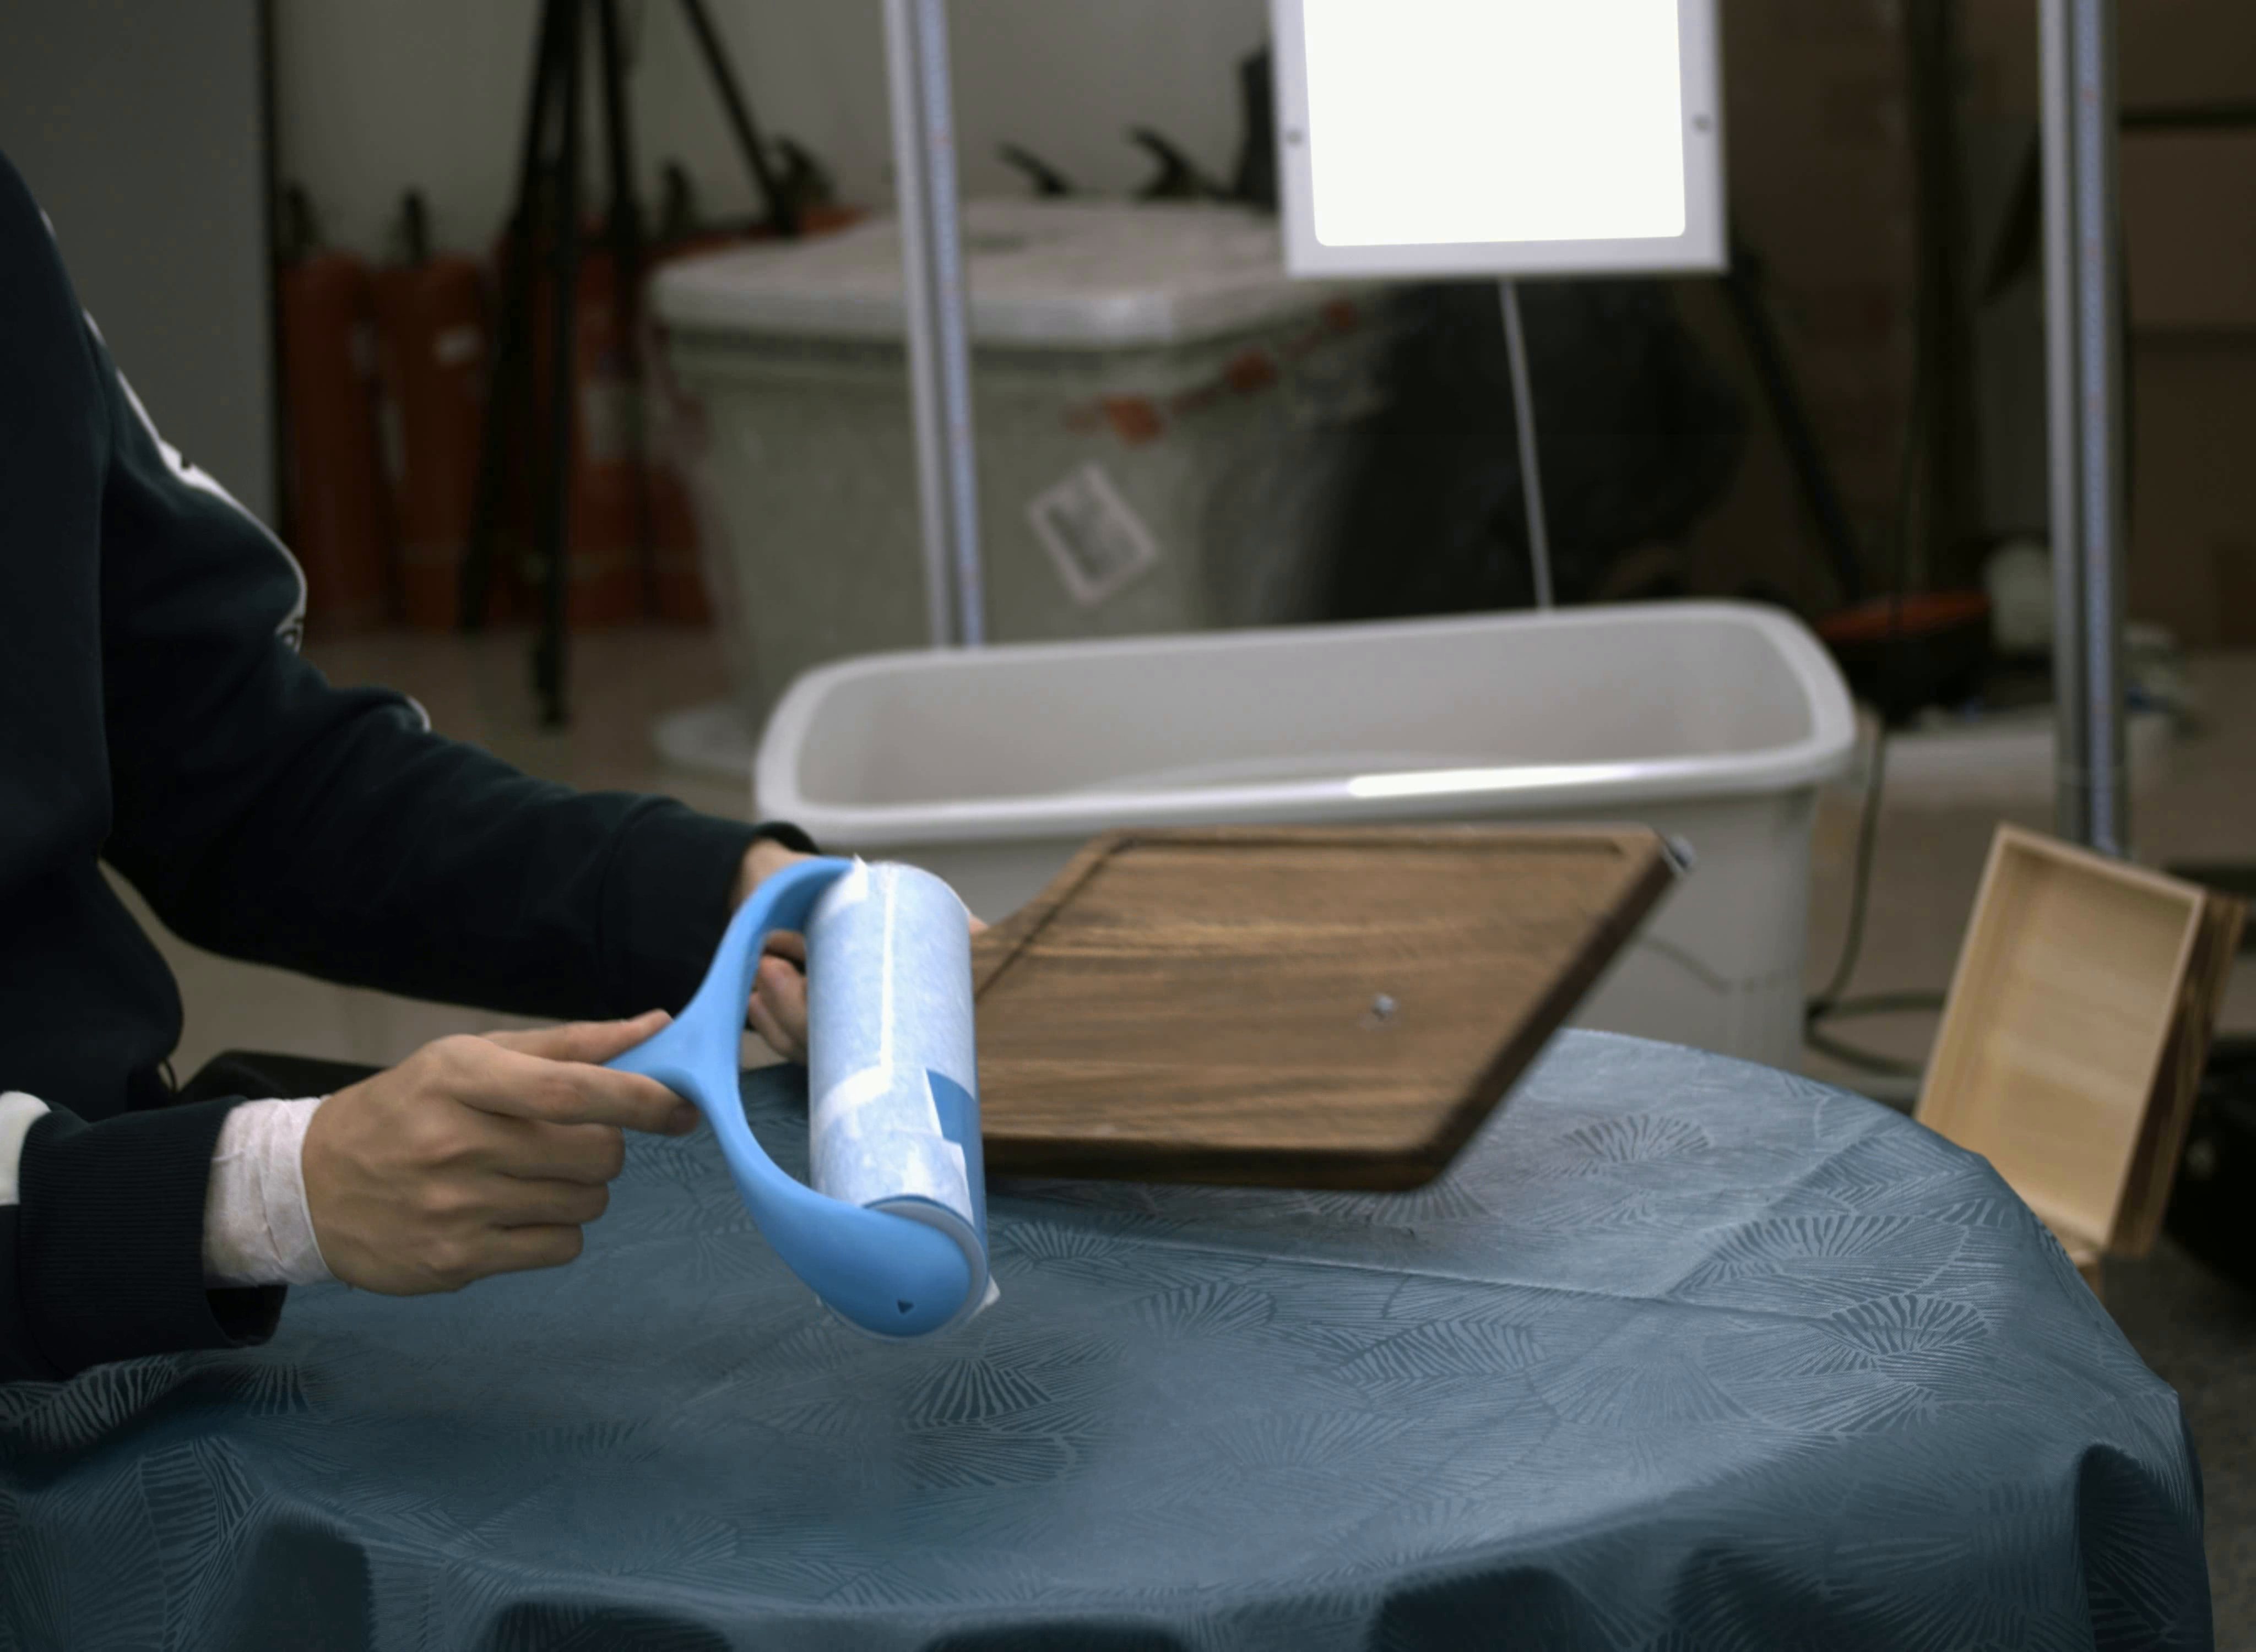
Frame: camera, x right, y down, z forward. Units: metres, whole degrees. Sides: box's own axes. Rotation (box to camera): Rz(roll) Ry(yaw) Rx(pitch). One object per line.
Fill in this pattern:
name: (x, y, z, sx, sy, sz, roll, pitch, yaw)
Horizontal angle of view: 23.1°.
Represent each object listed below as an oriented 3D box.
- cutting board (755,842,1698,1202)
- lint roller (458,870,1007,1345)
cutting board: (0.010, 0.063, 1.949, 0.359, 0.023, 0.197, 1, 32, 36)
lint roller: (-0.127, 0.097, 1.717, 0.180, 0.068, 0.229, -12, 31, 1)
